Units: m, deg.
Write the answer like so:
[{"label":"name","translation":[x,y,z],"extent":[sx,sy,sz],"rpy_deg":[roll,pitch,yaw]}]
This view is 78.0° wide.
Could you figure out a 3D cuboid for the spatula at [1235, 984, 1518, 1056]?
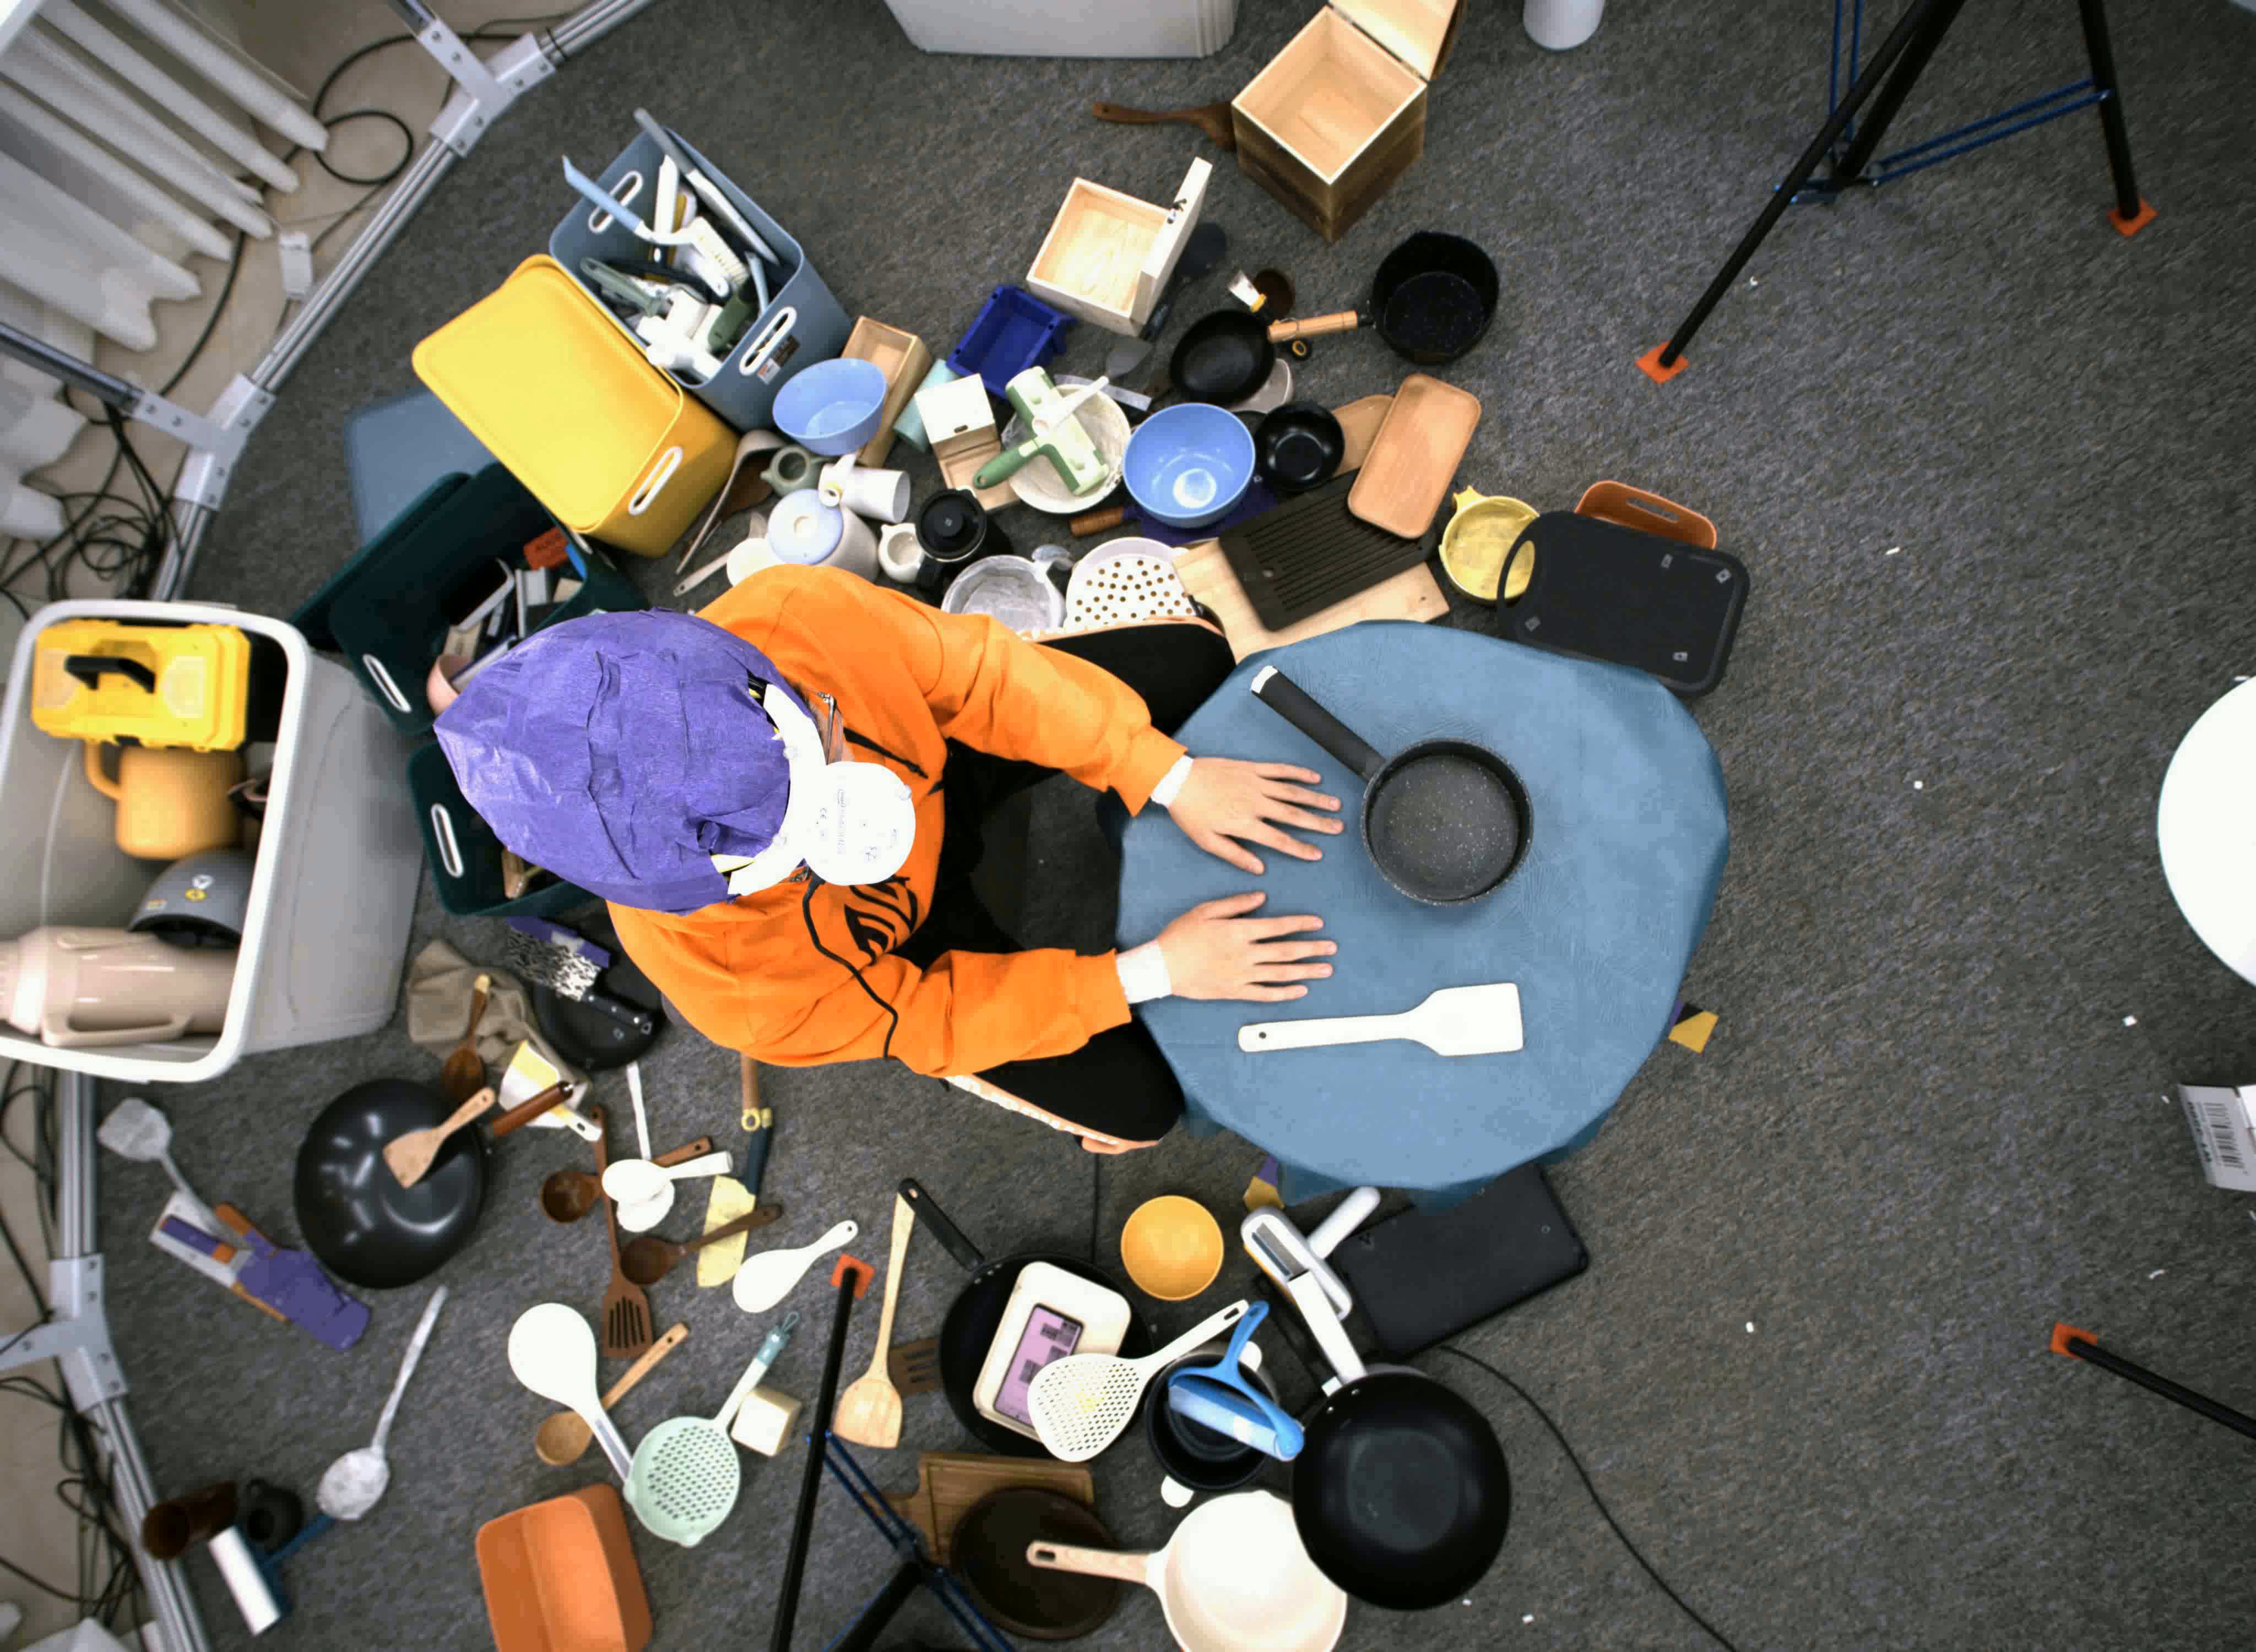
[{"label":"spatula","translation":[0.258,0.210,1.450],"extent":[0.294,0.010,0.072],"rpy_deg":[-5,89,10]}]

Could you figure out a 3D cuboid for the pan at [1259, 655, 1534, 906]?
[{"label":"pan","translation":[0.266,-0.055,1.425],"extent":[0.327,0.086,0.172],"rpy_deg":[42,93,8]}]
